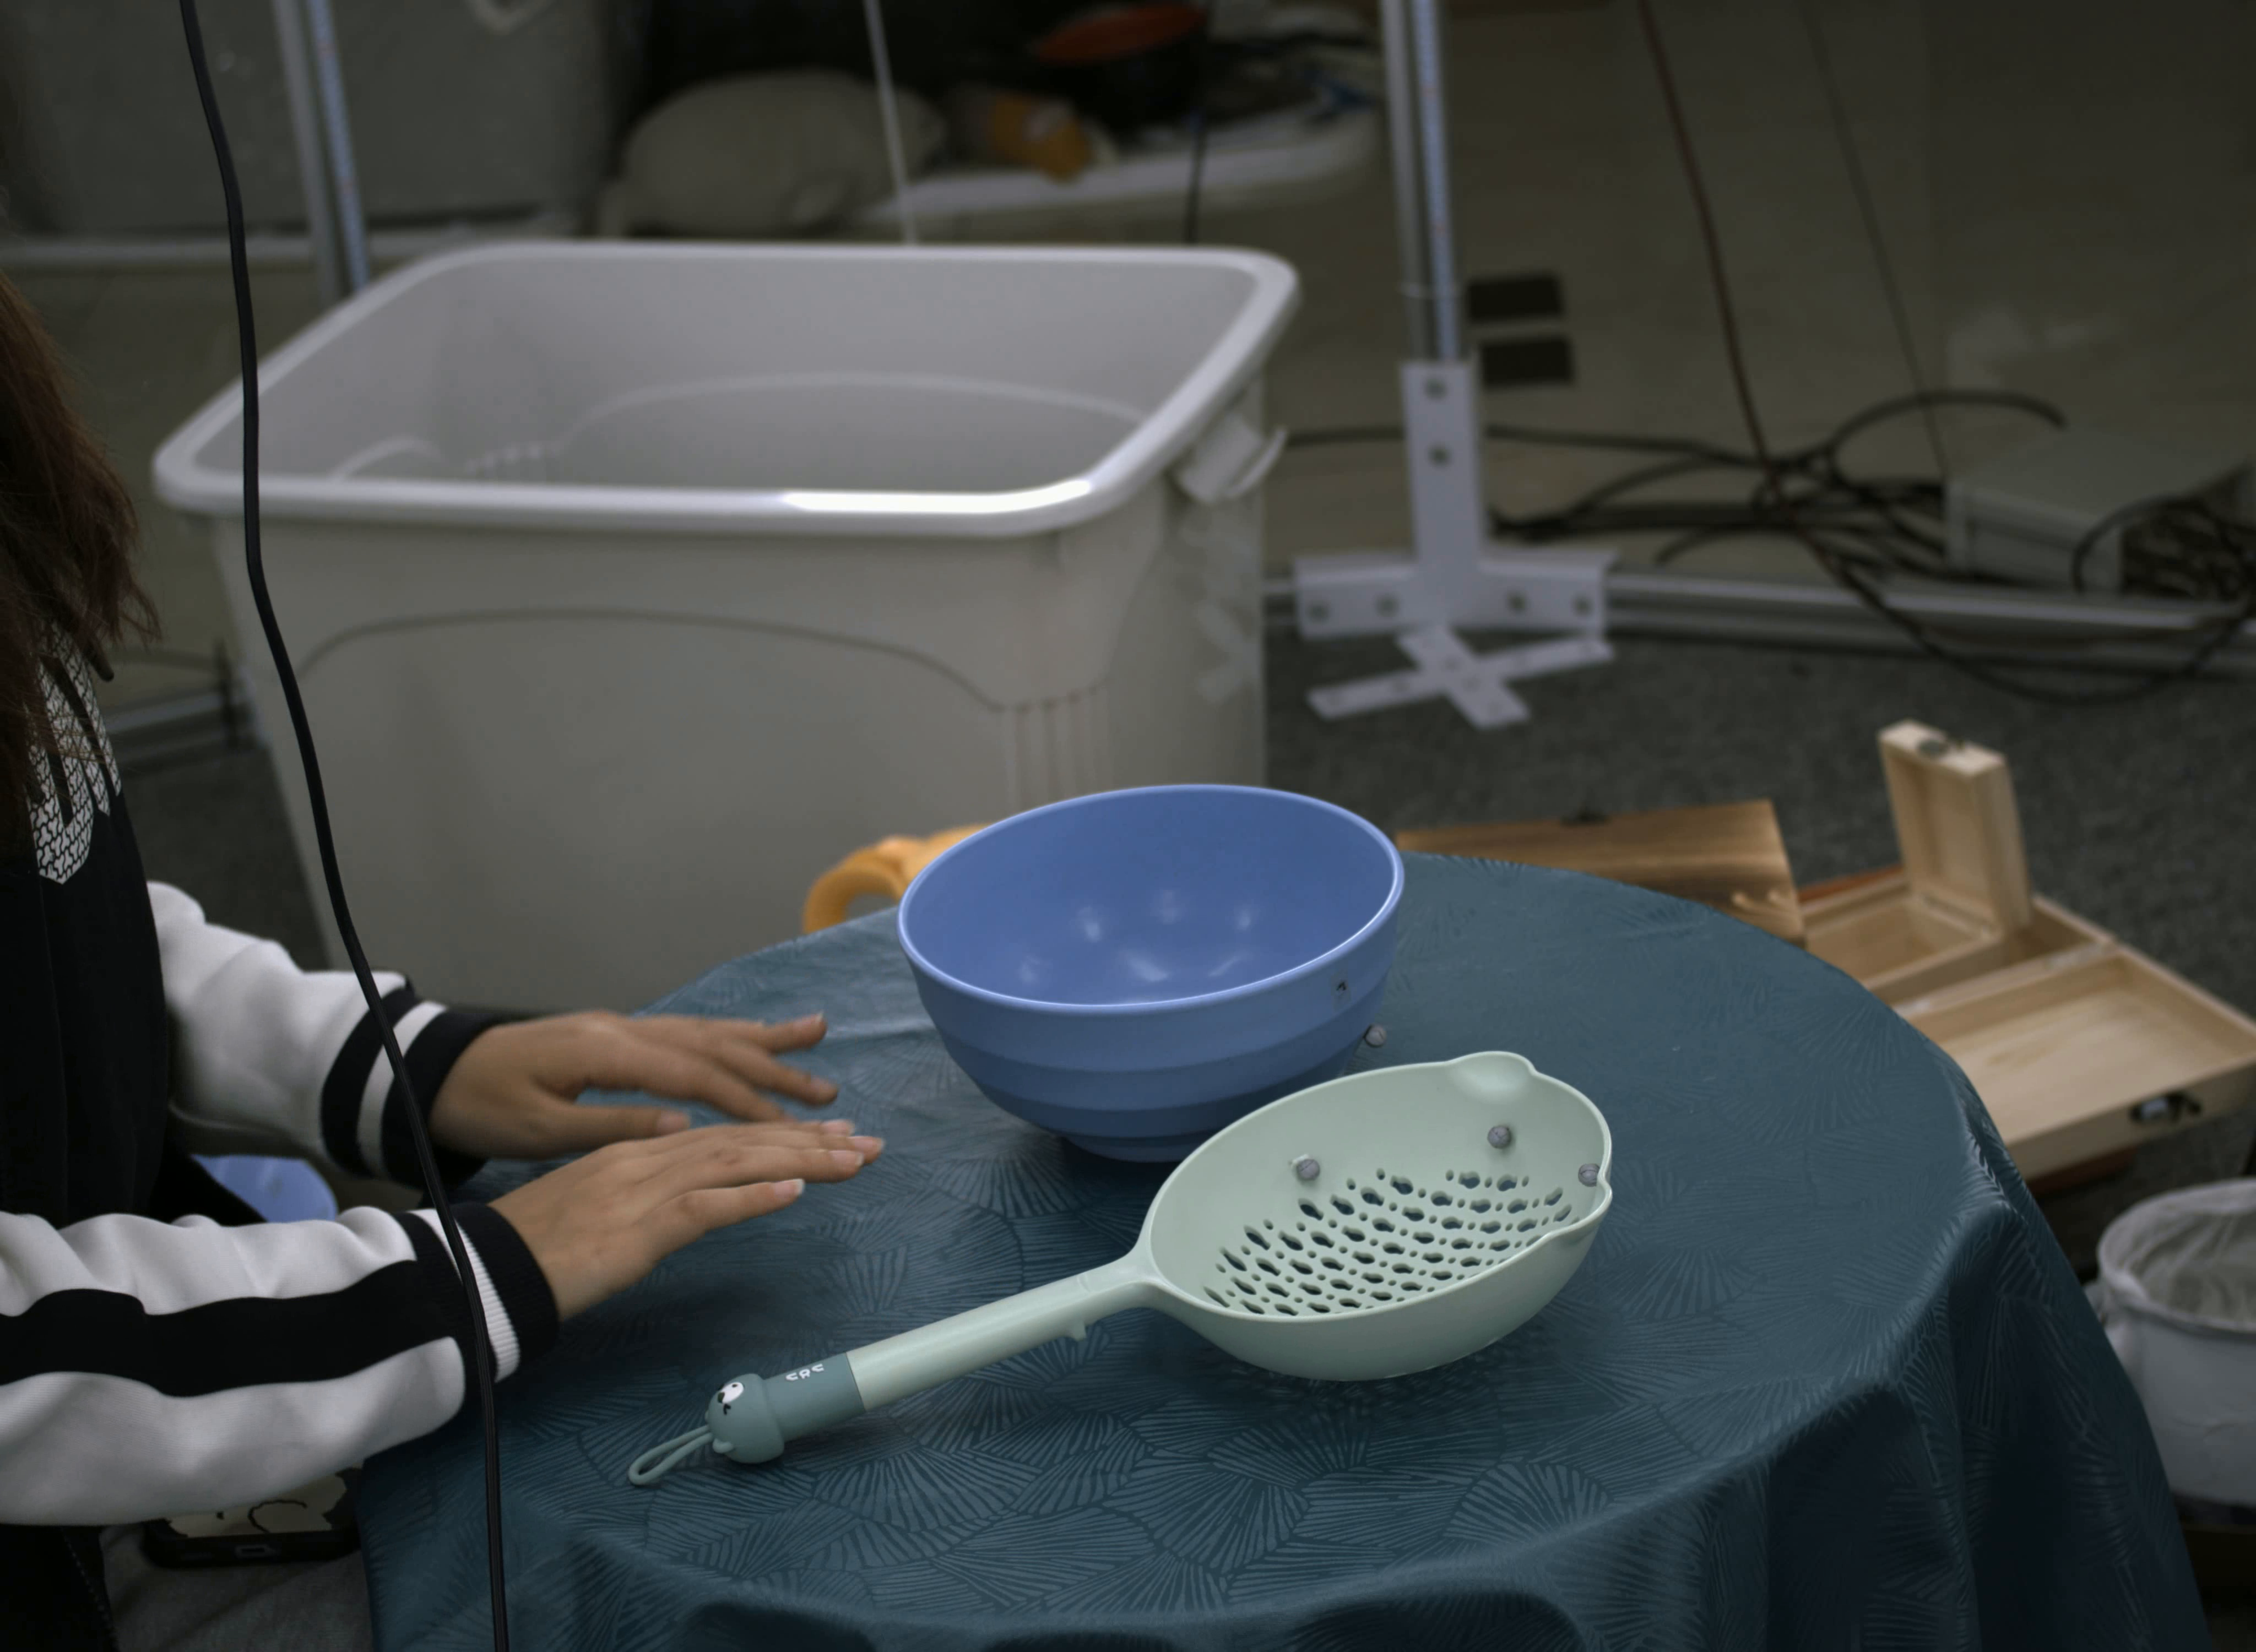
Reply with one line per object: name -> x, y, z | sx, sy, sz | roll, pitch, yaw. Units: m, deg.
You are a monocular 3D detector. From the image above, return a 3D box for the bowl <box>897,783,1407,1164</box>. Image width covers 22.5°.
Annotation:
bowl -> 0.014, 0.068, 2.185 | 0.196, 0.097, 0.193 | -5, 26, 3

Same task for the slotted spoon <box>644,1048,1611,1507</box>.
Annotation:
slotted spoon -> -0.001, 0.171, 2.011 | 0.358, 0.076, 0.167 | -12, 25, -7
